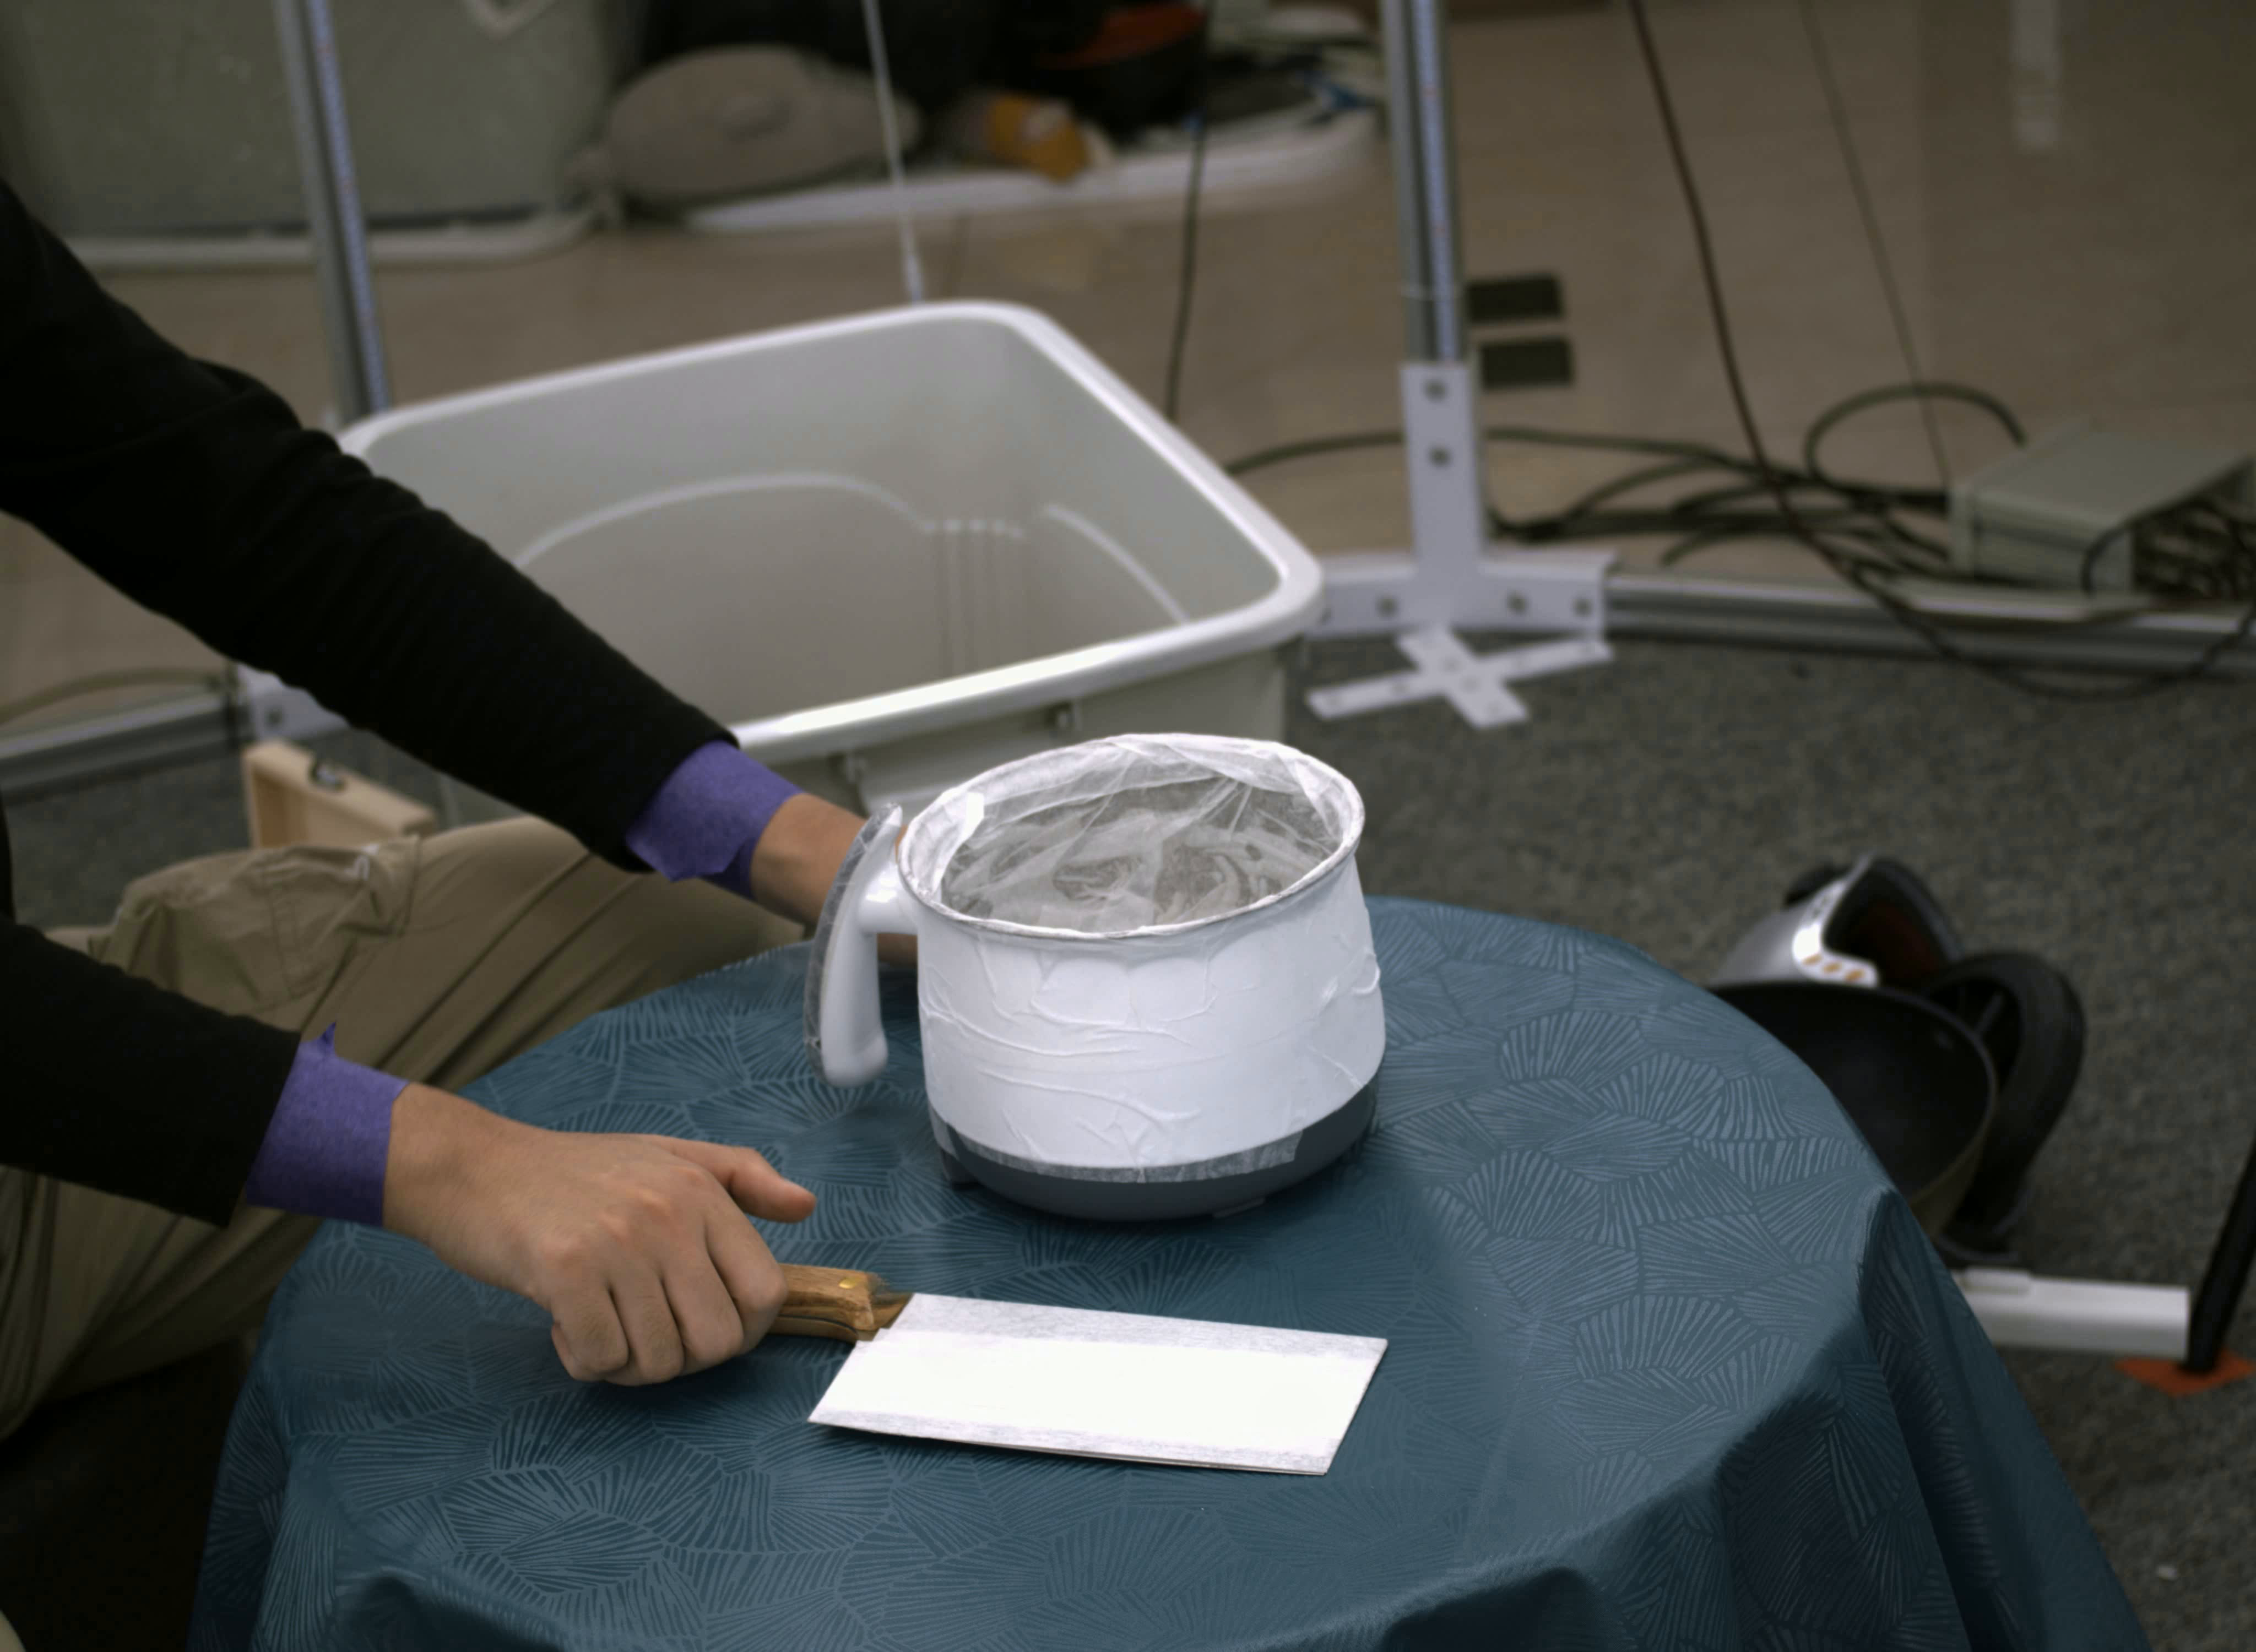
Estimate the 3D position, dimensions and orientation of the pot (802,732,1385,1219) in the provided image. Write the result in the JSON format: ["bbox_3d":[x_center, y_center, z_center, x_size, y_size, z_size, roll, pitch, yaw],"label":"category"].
[{"bbox_3d":[-0.018,0.056,2.163,0.233,0.139,0.176,4,27,20],"label":"pot"}]

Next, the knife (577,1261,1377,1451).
[{"bbox_3d":[-0.064,0.193,2.034,0.305,0.021,0.091,4,27,17],"label":"knife"}]
